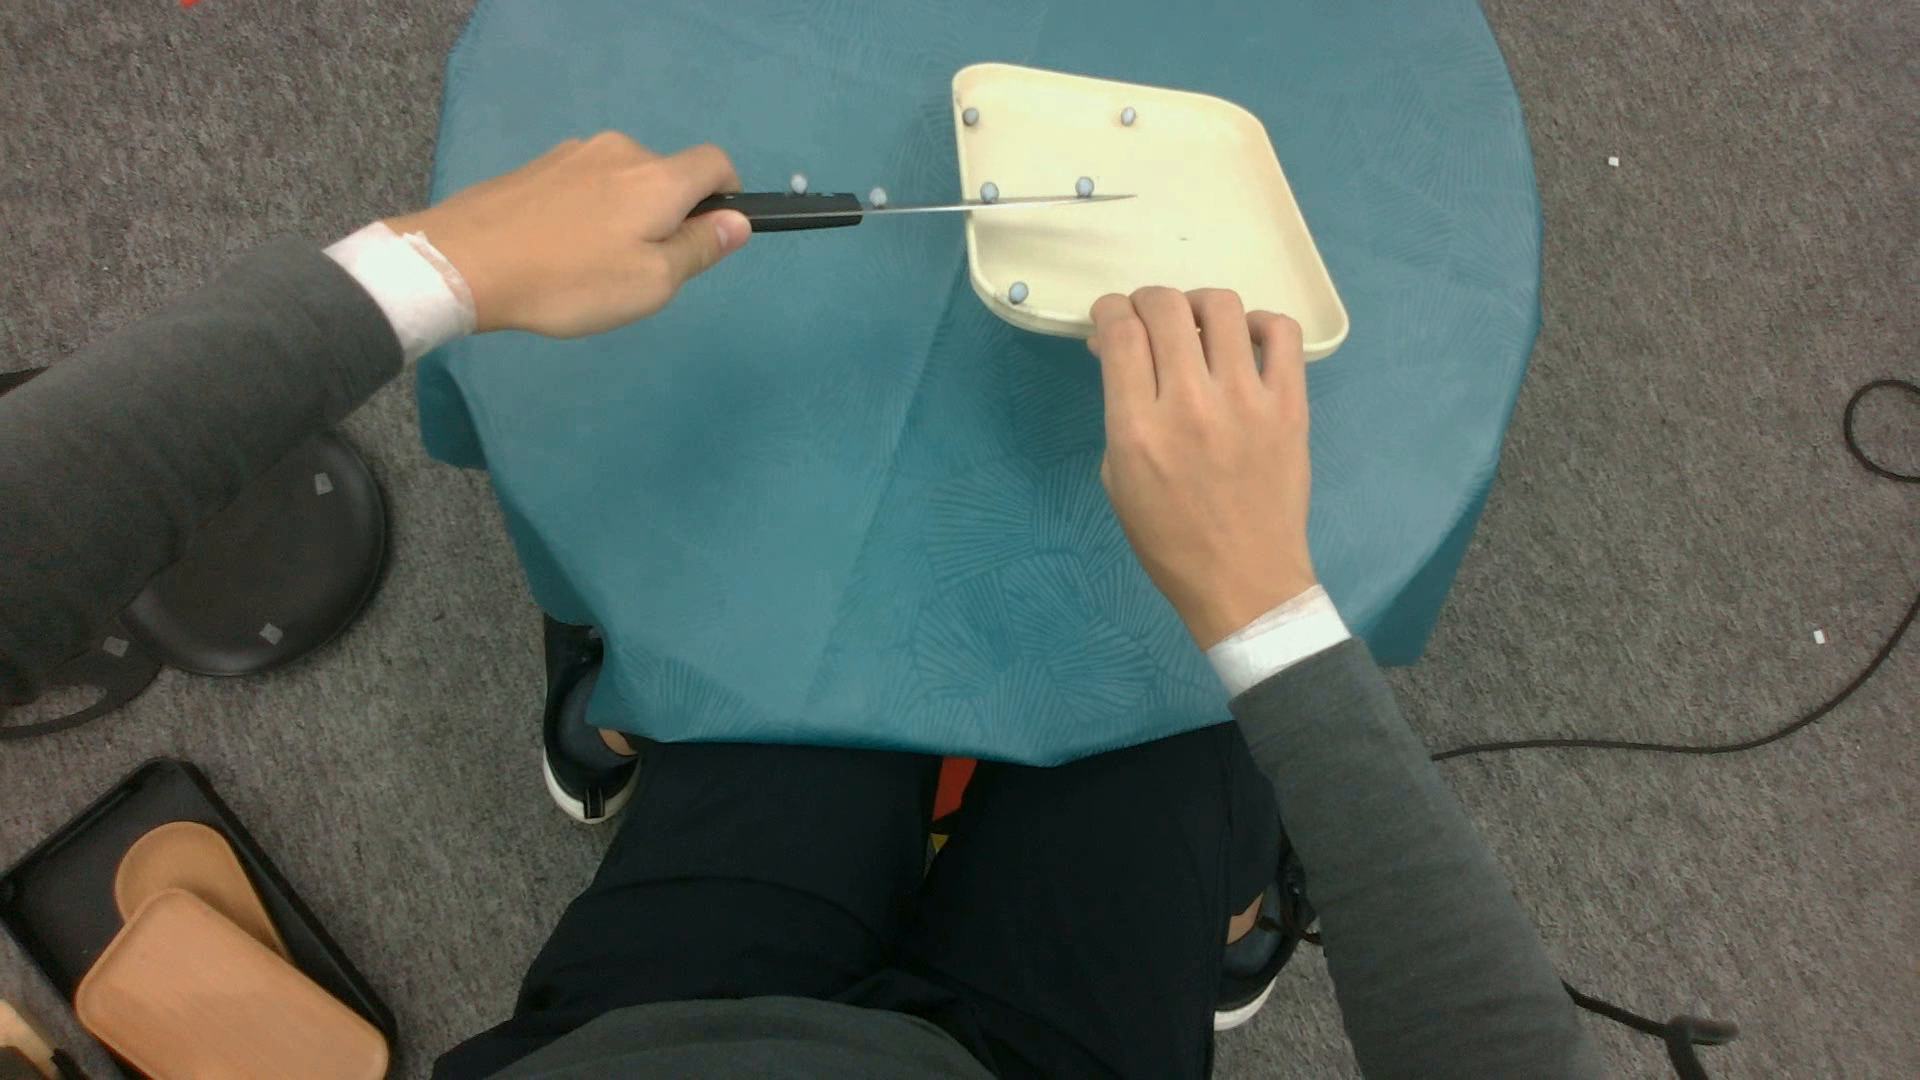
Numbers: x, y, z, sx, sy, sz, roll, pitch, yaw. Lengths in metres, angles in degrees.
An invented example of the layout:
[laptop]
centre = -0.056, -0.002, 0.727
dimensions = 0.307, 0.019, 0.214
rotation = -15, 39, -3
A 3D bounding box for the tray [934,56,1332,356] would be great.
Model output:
[tray]
centre = 0.075, -0.166, 0.665
dimensions = 0.171, 0.017, 0.241
rotation = 6, 42, -11

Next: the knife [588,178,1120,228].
[knife]
centre = -0.043, -0.152, 0.609
dimensions = 0.238, 0.024, 0.016
rotation = -5, 119, -8
